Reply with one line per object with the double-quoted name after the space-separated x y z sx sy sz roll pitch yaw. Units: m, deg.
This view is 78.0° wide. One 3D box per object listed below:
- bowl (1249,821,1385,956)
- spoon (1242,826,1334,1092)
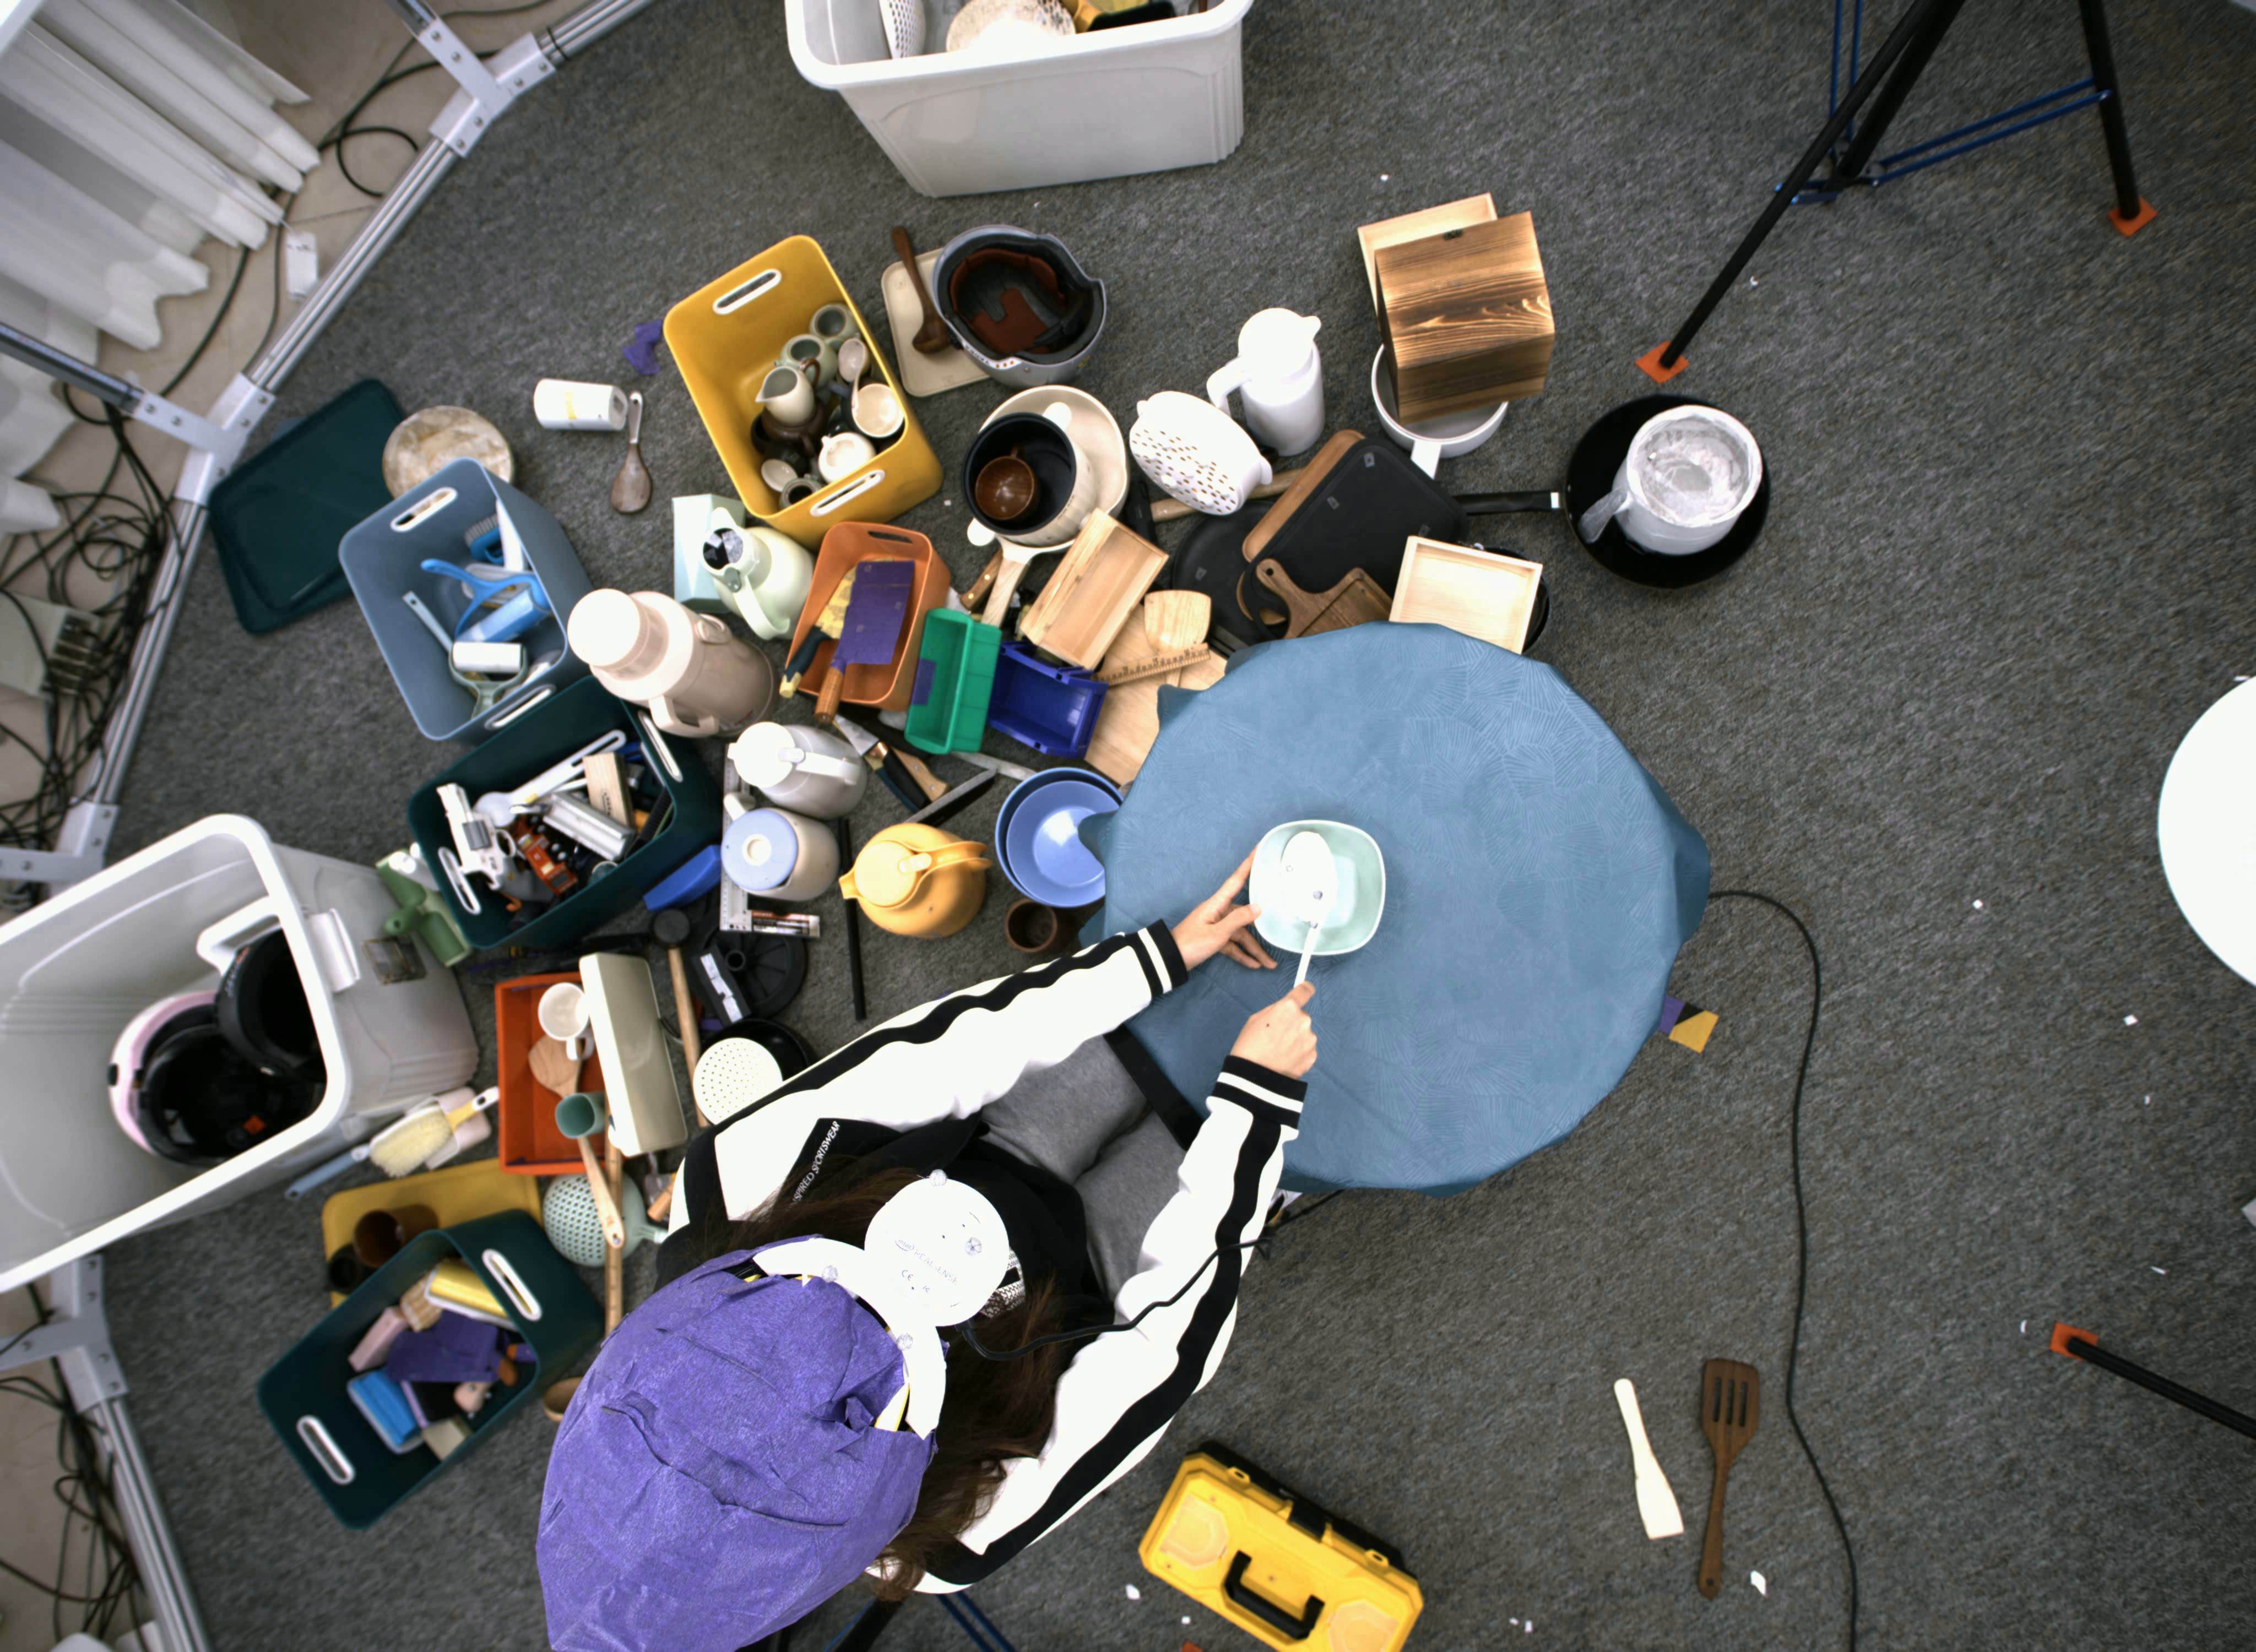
0.198 0.066 1.447 0.152 0.058 0.151 -1 86 10 "bowl"
0.146 0.131 1.406 0.059 0.102 0.272 29 70 -14 "spoon"
